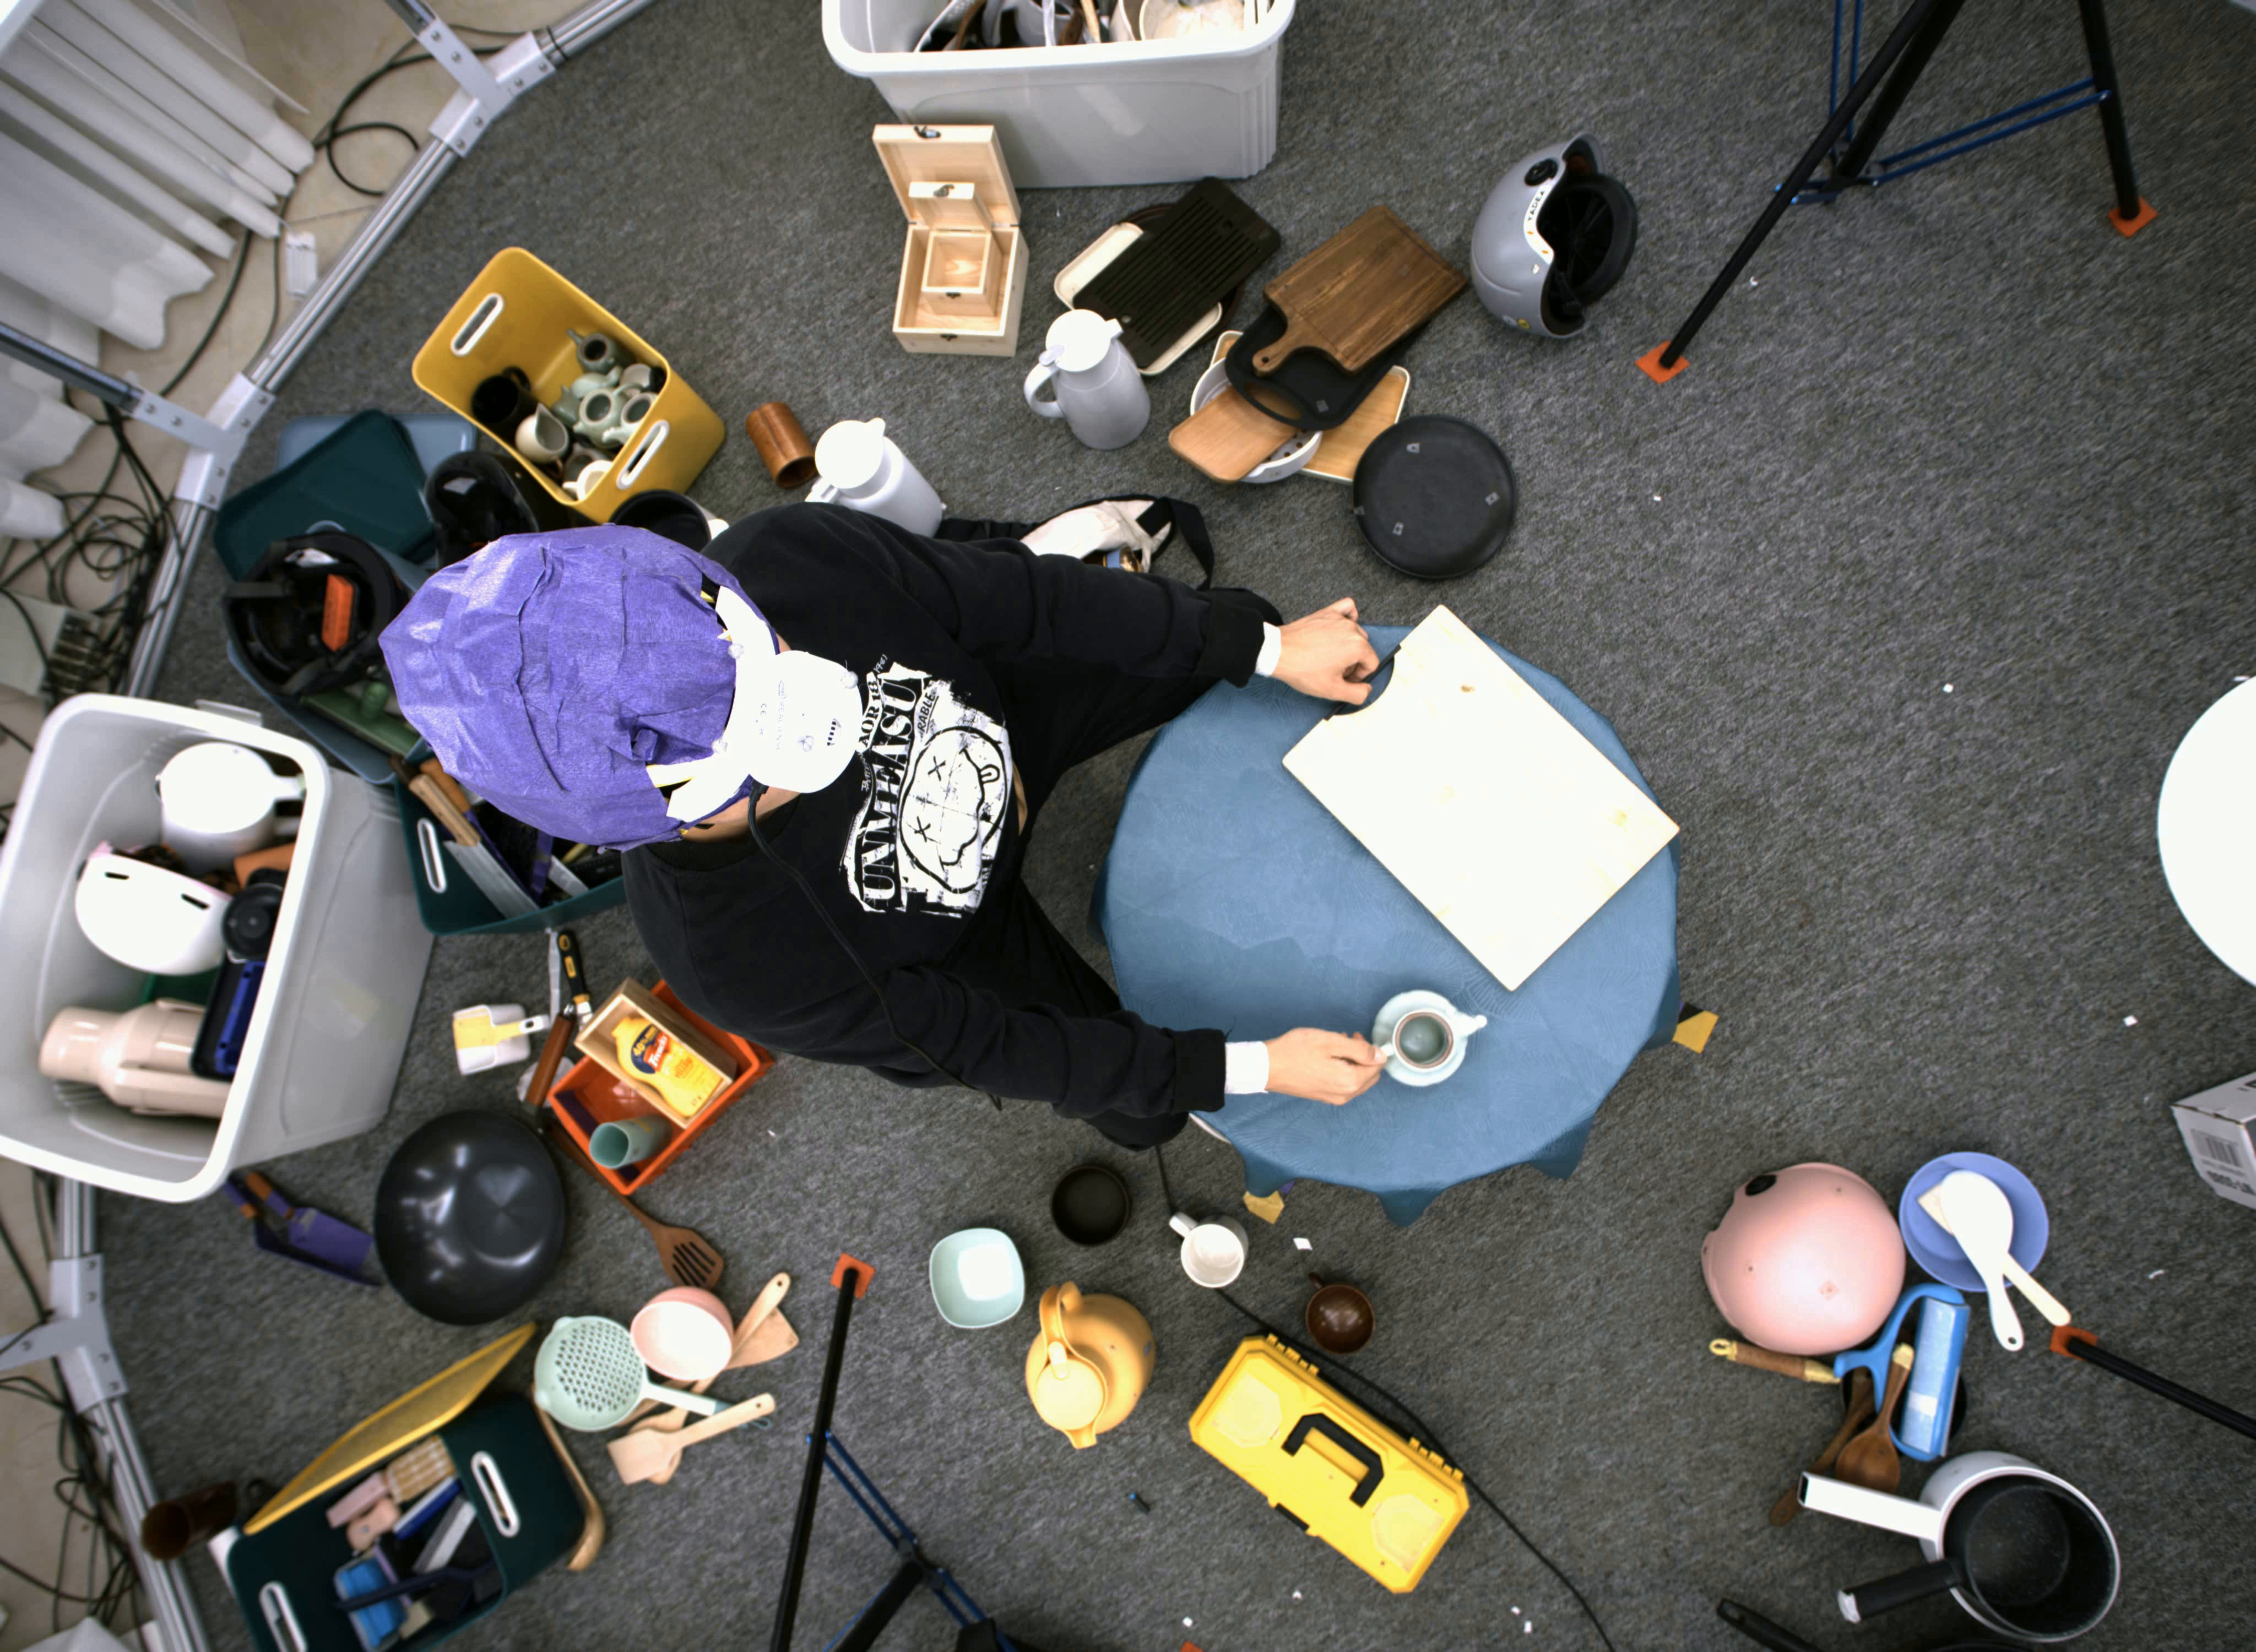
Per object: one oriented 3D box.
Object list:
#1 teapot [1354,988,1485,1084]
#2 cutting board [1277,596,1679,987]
[{"bbox_3d":[0.291,0.212,1.392,0.137,0.061,0.096,-20,86,3],"label":"teapot"},{"bbox_3d":[0.361,-0.038,1.440,0.347,0.023,0.252,45,95,9],"label":"cutting board"}]
